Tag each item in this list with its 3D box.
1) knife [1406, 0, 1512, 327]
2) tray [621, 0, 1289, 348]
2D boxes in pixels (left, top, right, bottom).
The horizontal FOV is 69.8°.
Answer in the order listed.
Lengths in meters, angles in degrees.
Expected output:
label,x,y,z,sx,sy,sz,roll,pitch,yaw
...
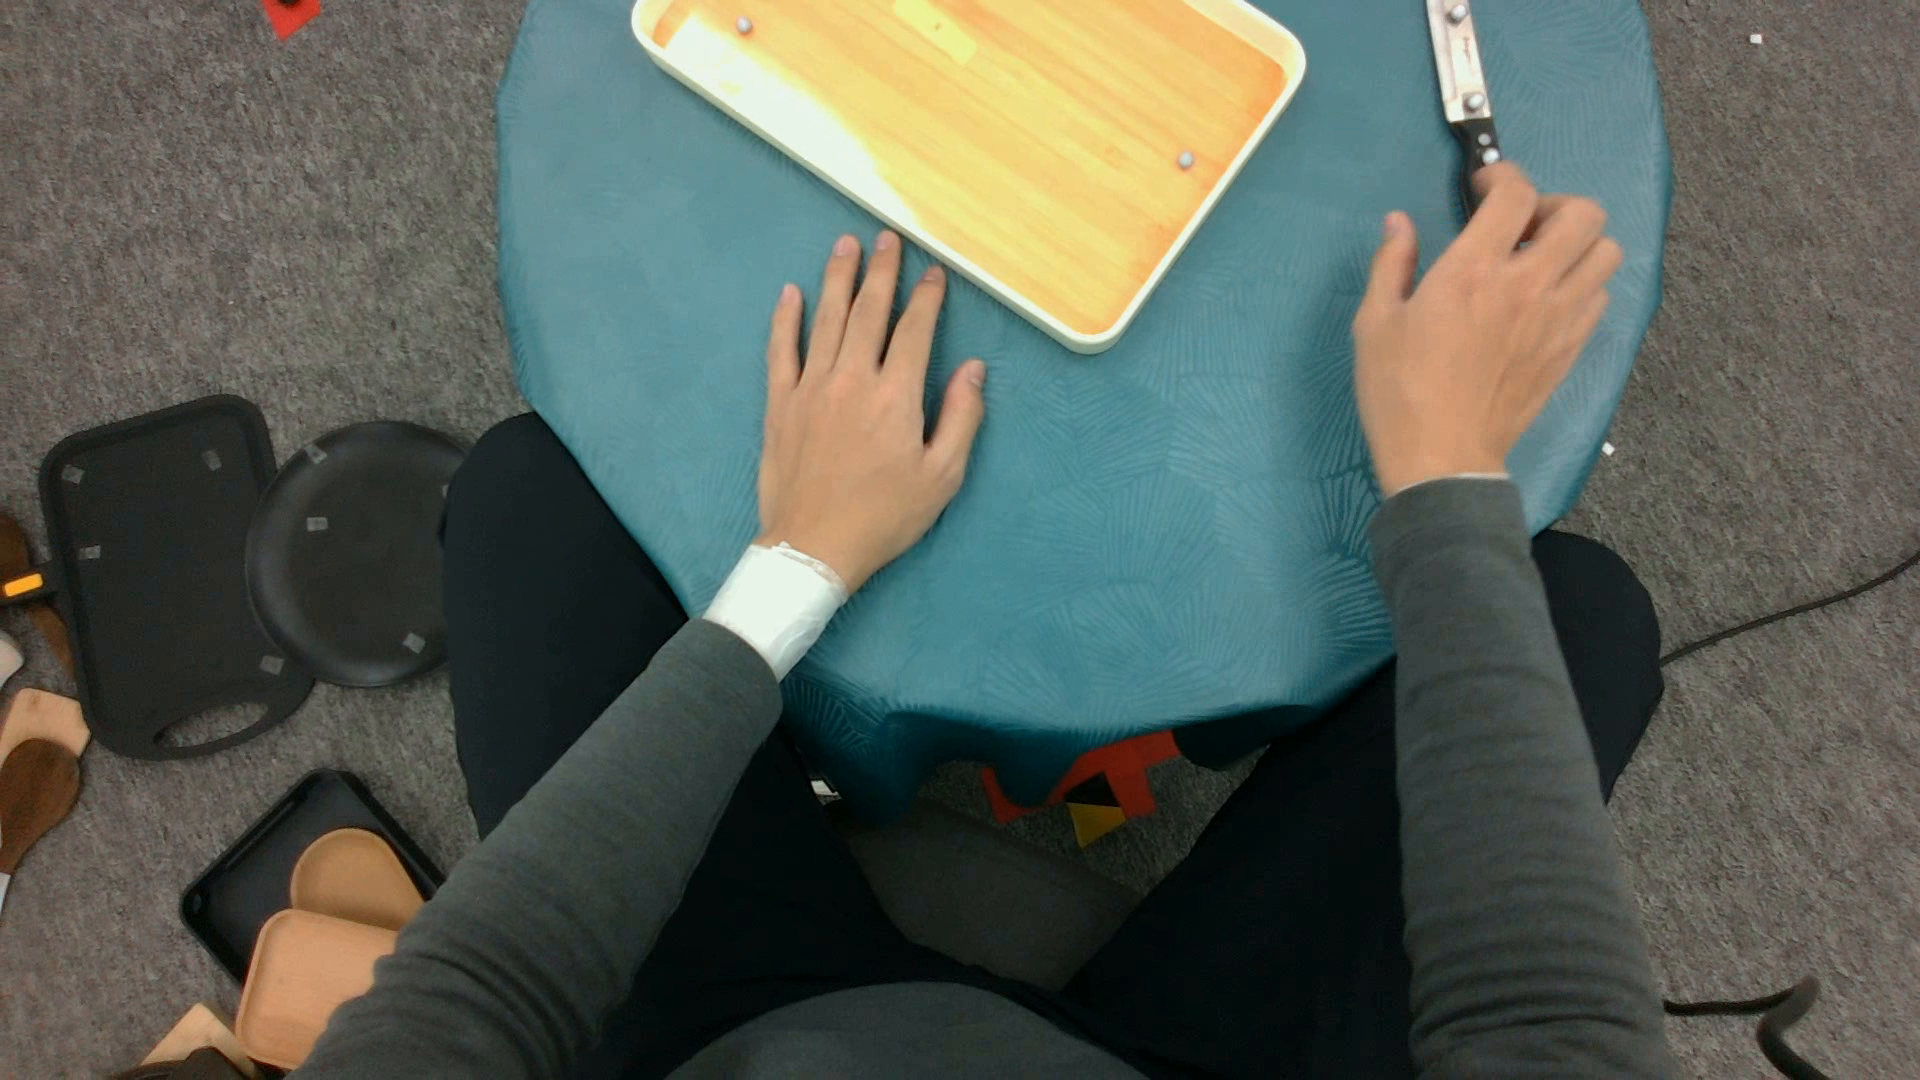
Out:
label,x,y,z,sx,sy,sz,roll,pitch,yaw
knife,0.249,-0.222,0.700,0.024,0.016,0.238,-7,79,-1
tray,-0.005,-0.252,0.706,0.300,0.027,0.192,36,85,7
